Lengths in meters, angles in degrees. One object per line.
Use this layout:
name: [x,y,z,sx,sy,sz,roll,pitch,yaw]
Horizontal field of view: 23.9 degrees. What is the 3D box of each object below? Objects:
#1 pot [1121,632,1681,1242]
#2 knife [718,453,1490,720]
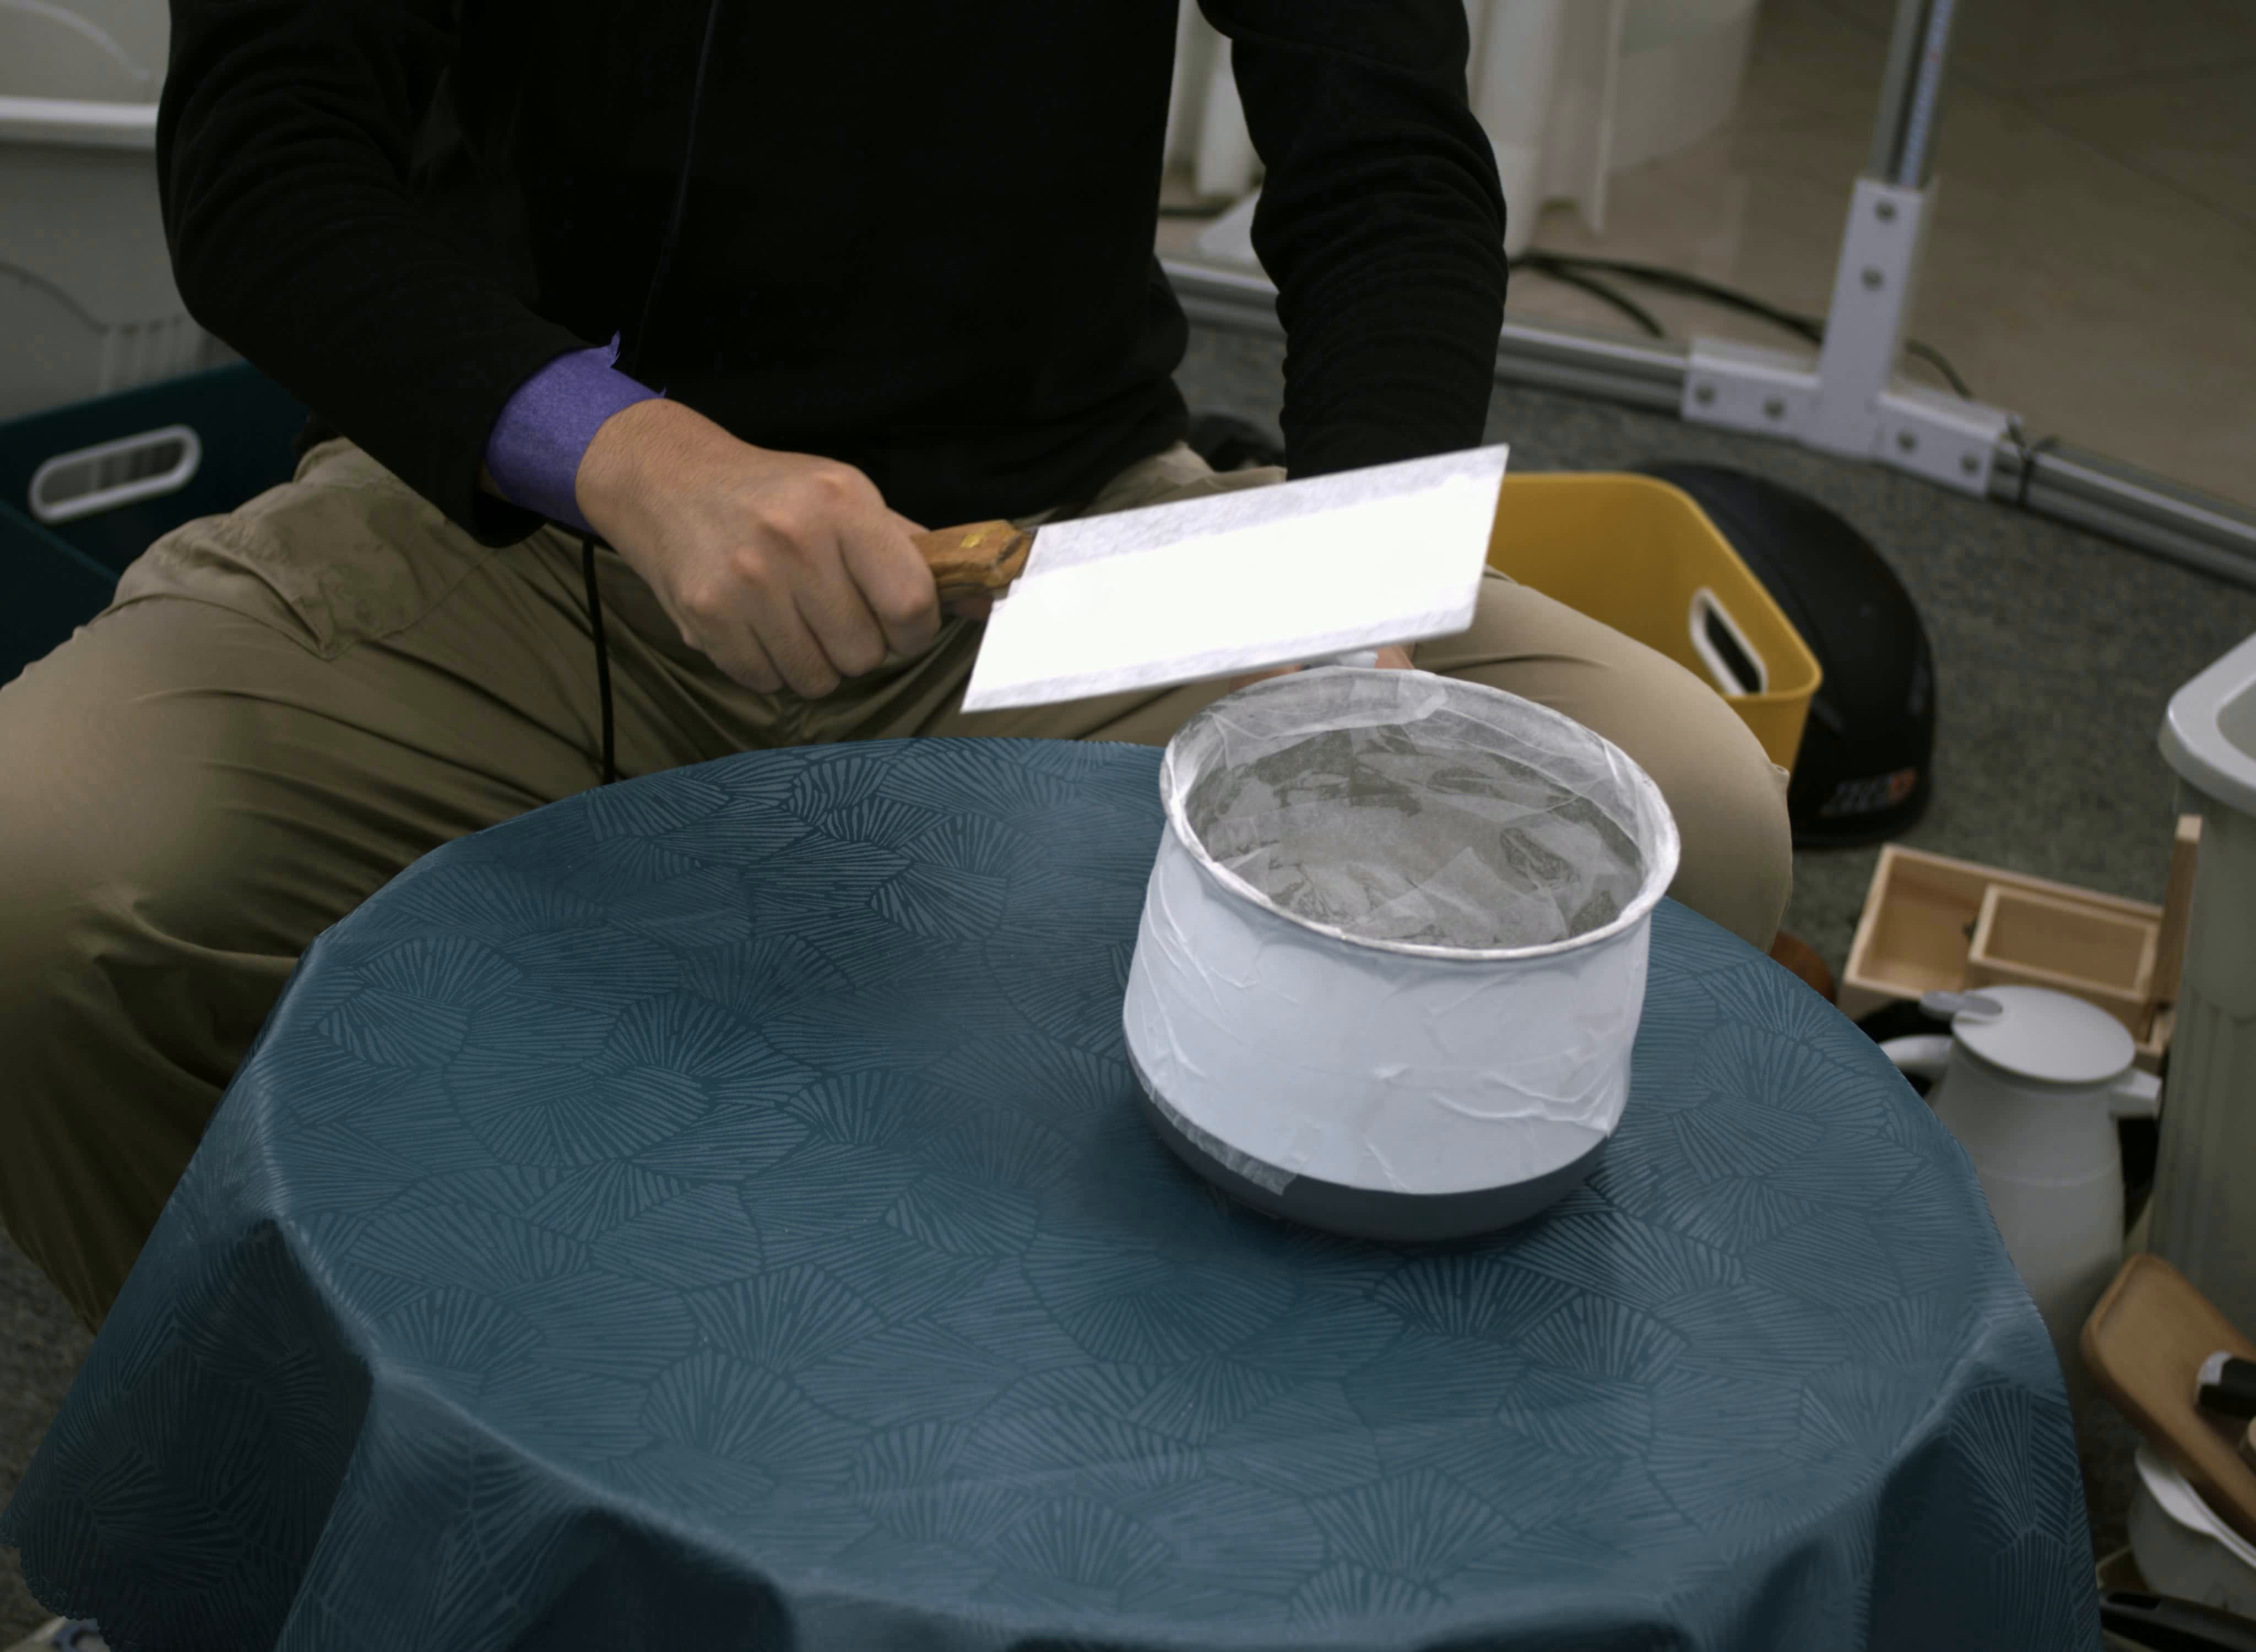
pot: [0.083,0.030,1.838,0.178,0.136,0.236,0,34,-15]
knife: [-0.017,-0.075,1.846,0.306,0.021,0.093,-9,41,27]
